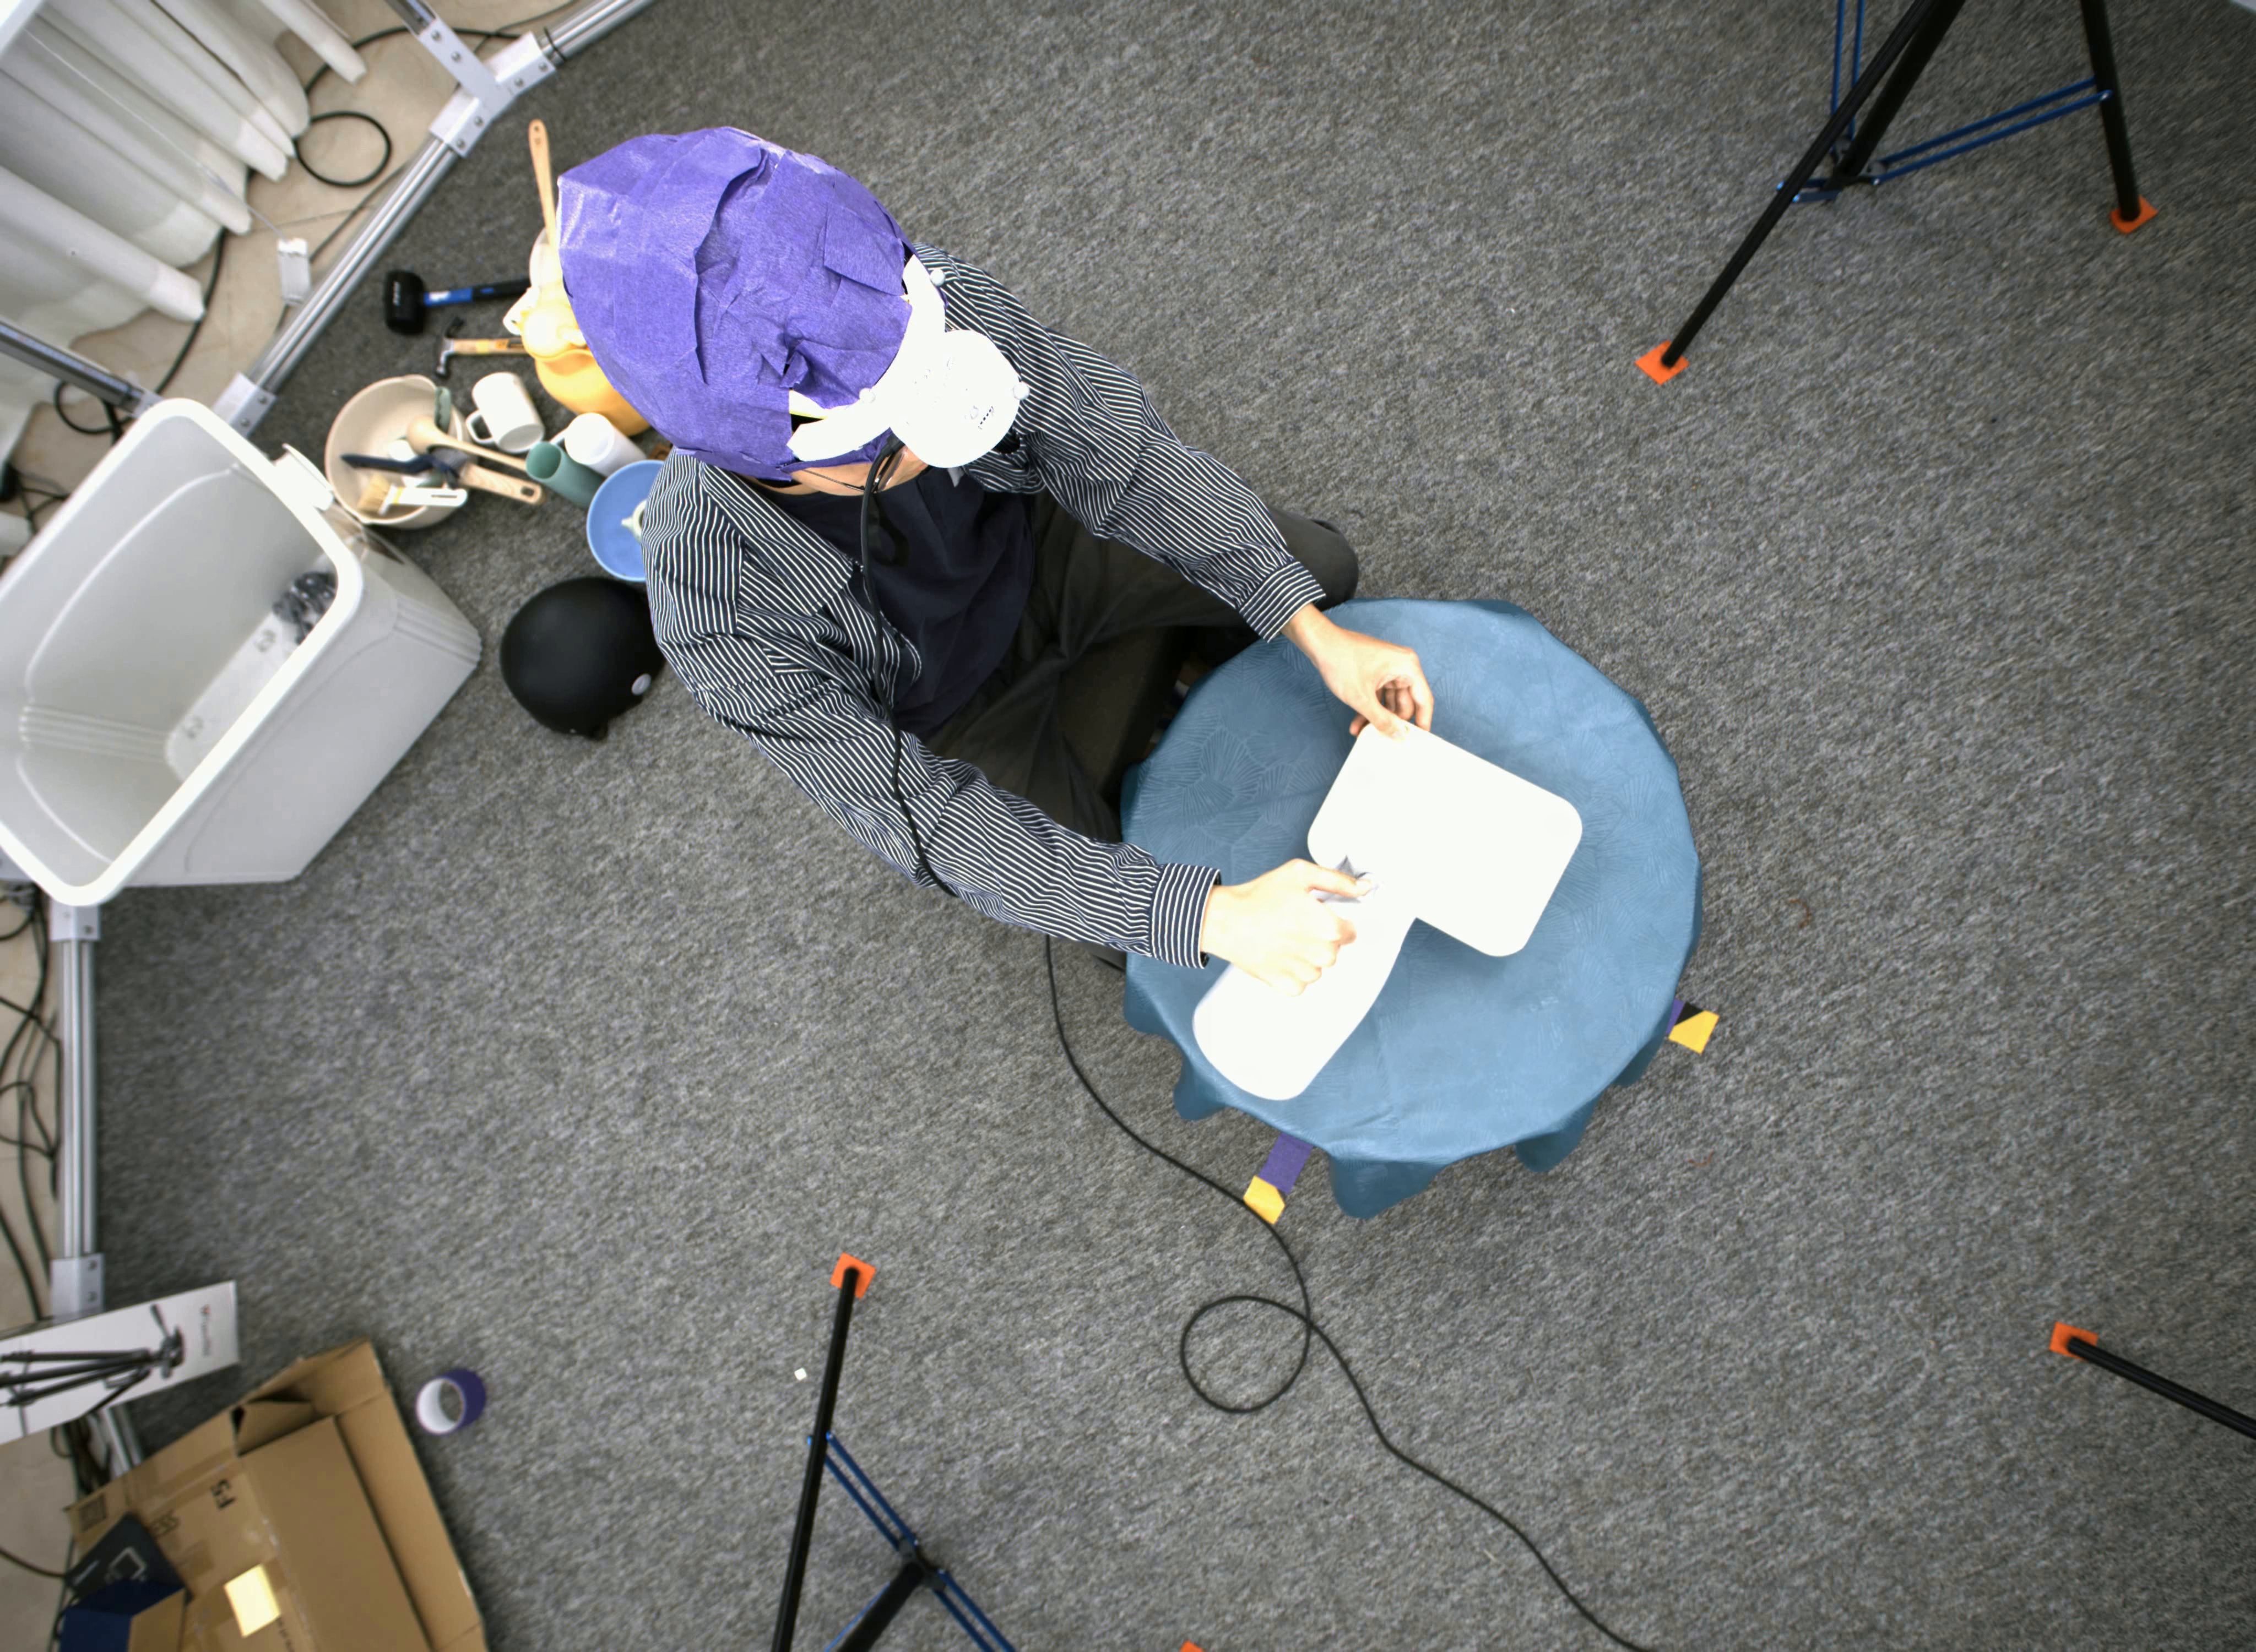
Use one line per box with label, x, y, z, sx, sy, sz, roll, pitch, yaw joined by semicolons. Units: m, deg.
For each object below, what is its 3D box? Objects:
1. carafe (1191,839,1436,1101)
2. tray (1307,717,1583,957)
carafe;0.169;0.130;1.268;0.131;0.165;0.254;44;122;15
tray;0.311;0.008;1.358;0.239;0.017;0.171;28;92;10
